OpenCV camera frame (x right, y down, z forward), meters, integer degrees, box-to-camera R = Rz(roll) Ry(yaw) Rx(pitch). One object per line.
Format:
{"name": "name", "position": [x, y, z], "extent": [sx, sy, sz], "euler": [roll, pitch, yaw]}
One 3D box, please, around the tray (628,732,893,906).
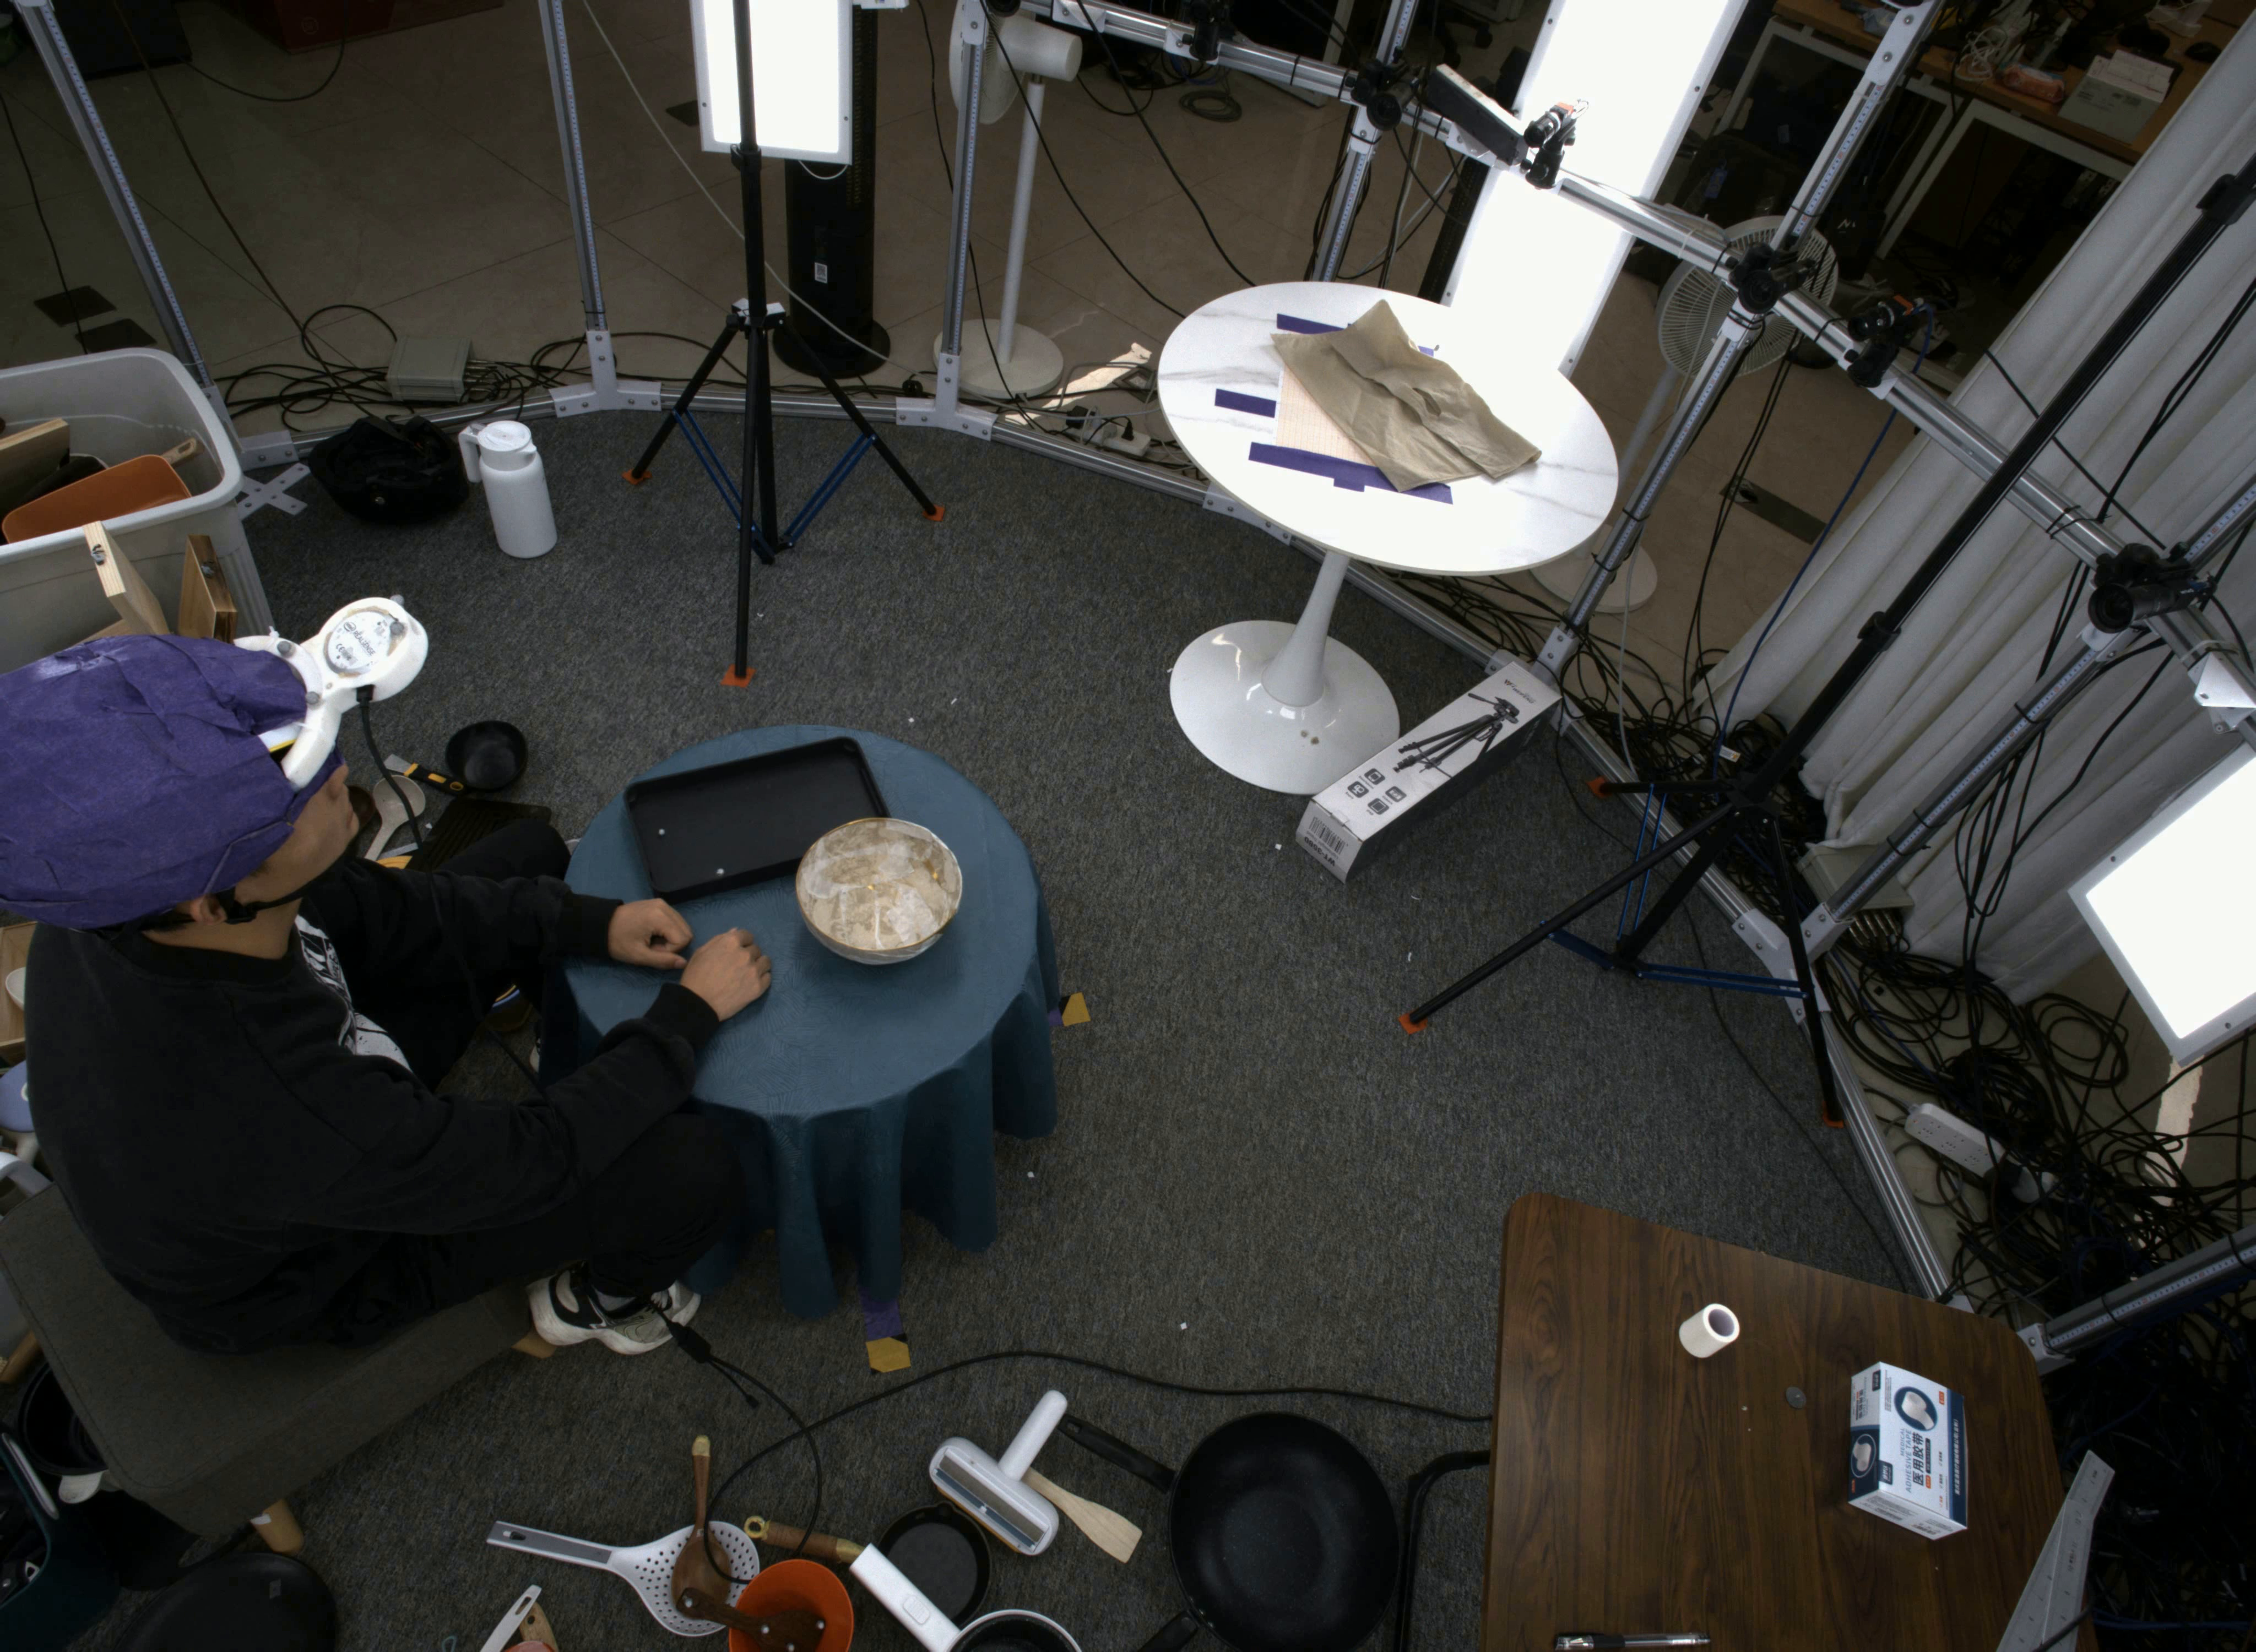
{"name": "tray", "position": [-0.482, -0.015, 1.698], "extent": [0.319, 0.038, 0.180], "euler": [-15, 61, -22]}

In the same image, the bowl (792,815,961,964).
{"name": "bowl", "position": [-0.316, 0.093, 1.629], "extent": [0.214, 0.096, 0.211], "euler": [8, 53, -9]}
